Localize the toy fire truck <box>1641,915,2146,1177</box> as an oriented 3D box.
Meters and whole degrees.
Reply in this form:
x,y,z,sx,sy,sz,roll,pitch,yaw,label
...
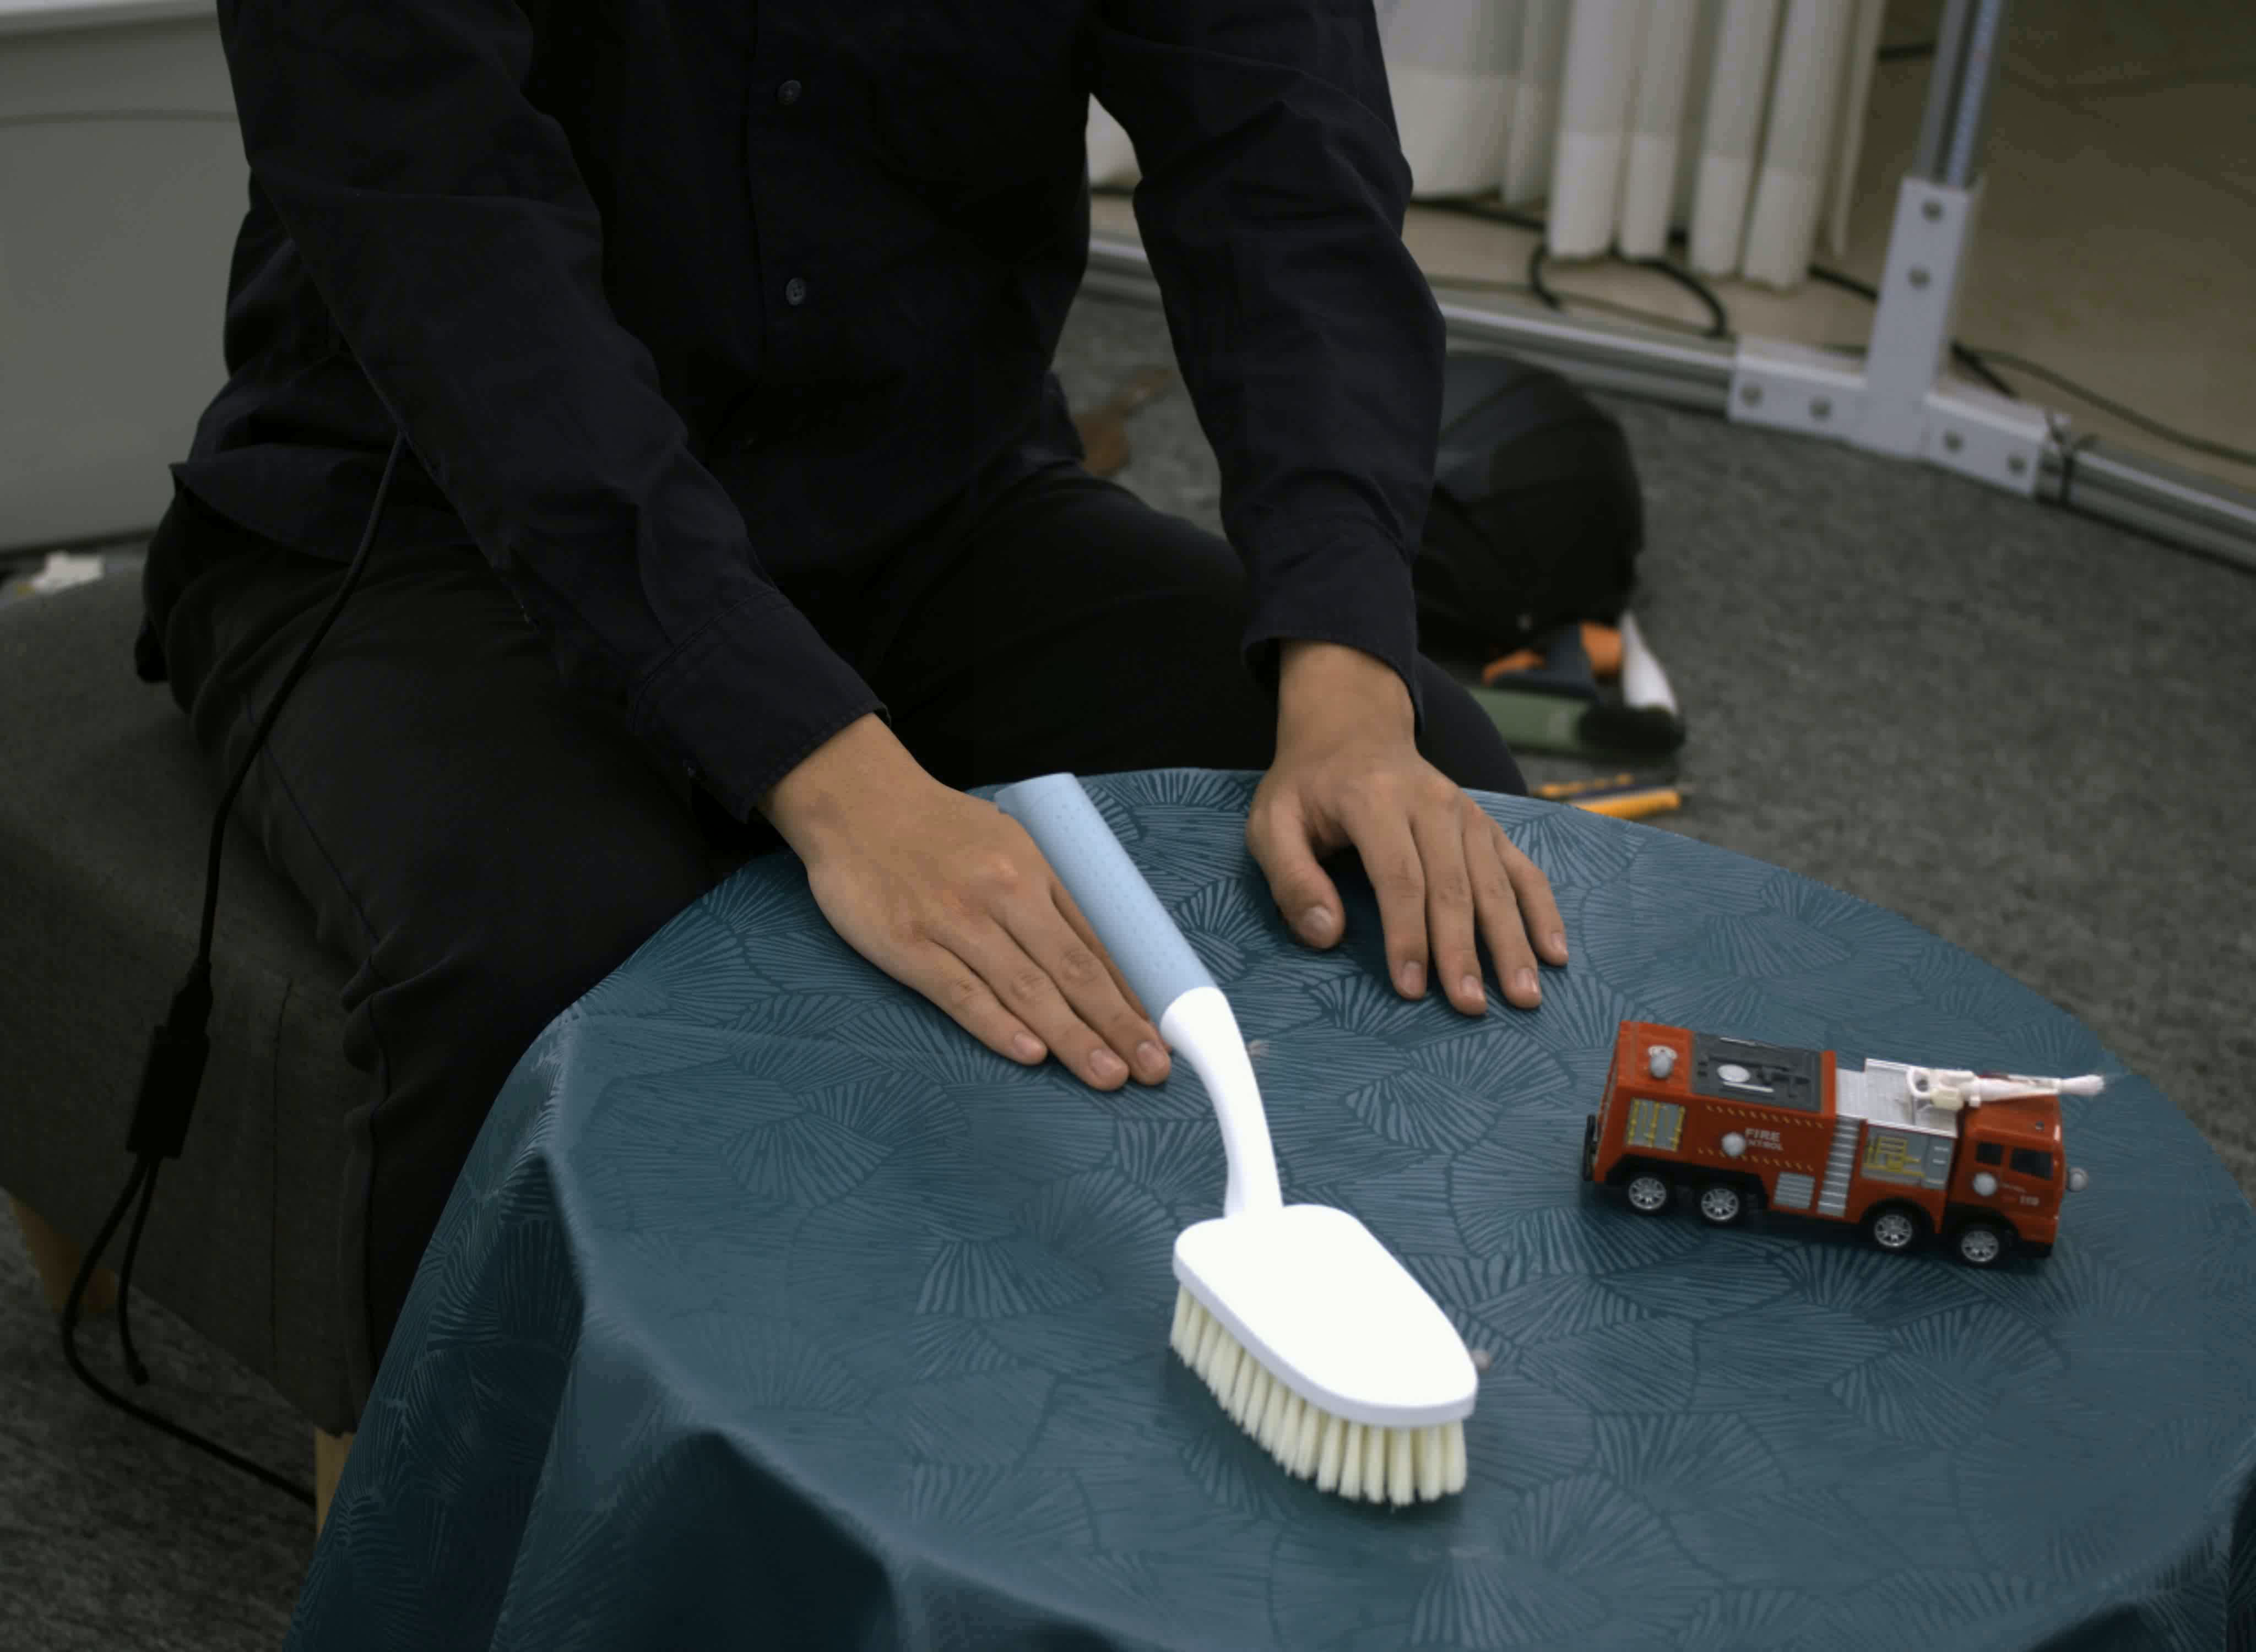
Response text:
x,y,z,sx,sy,sz,roll,pitch,yaw,label
0.263,0.073,1.837,0.167,0.070,0.054,7,24,3,toy fire truck

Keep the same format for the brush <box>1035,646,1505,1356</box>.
x,y,z,sx,sy,sz,roll,pitch,yaw,label
0.040,0.066,1.778,0.082,0.084,0.328,32,18,-45,brush
